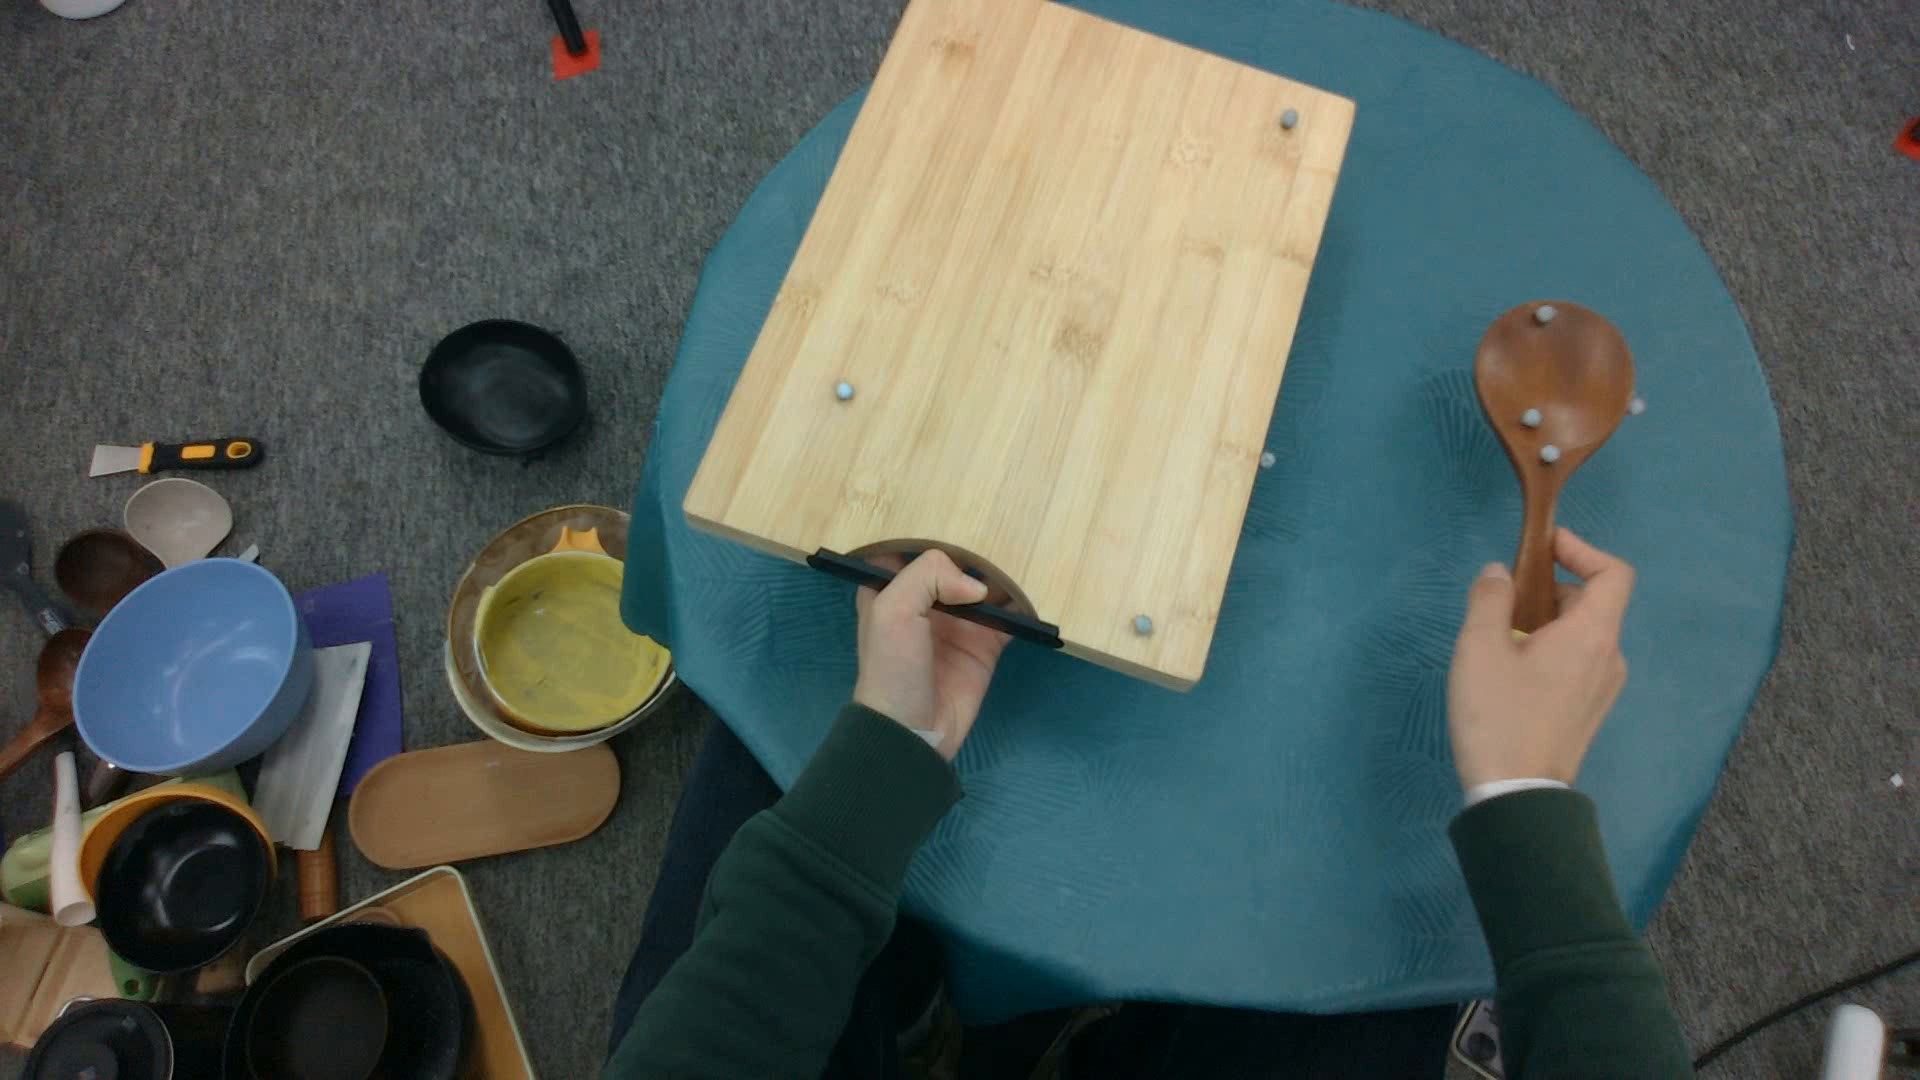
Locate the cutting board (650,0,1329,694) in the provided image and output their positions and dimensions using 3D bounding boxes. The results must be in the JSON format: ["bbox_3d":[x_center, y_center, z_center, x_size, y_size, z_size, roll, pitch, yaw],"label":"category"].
[{"bbox_3d":[0.030,-0.120,0.673,0.251,0.023,0.350,17,66,1],"label":"cutting board"}]

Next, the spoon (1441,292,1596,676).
[{"bbox_3d":[0.259,-0.033,0.649,0.075,0.017,0.217,12,59,7],"label":"spoon"}]
